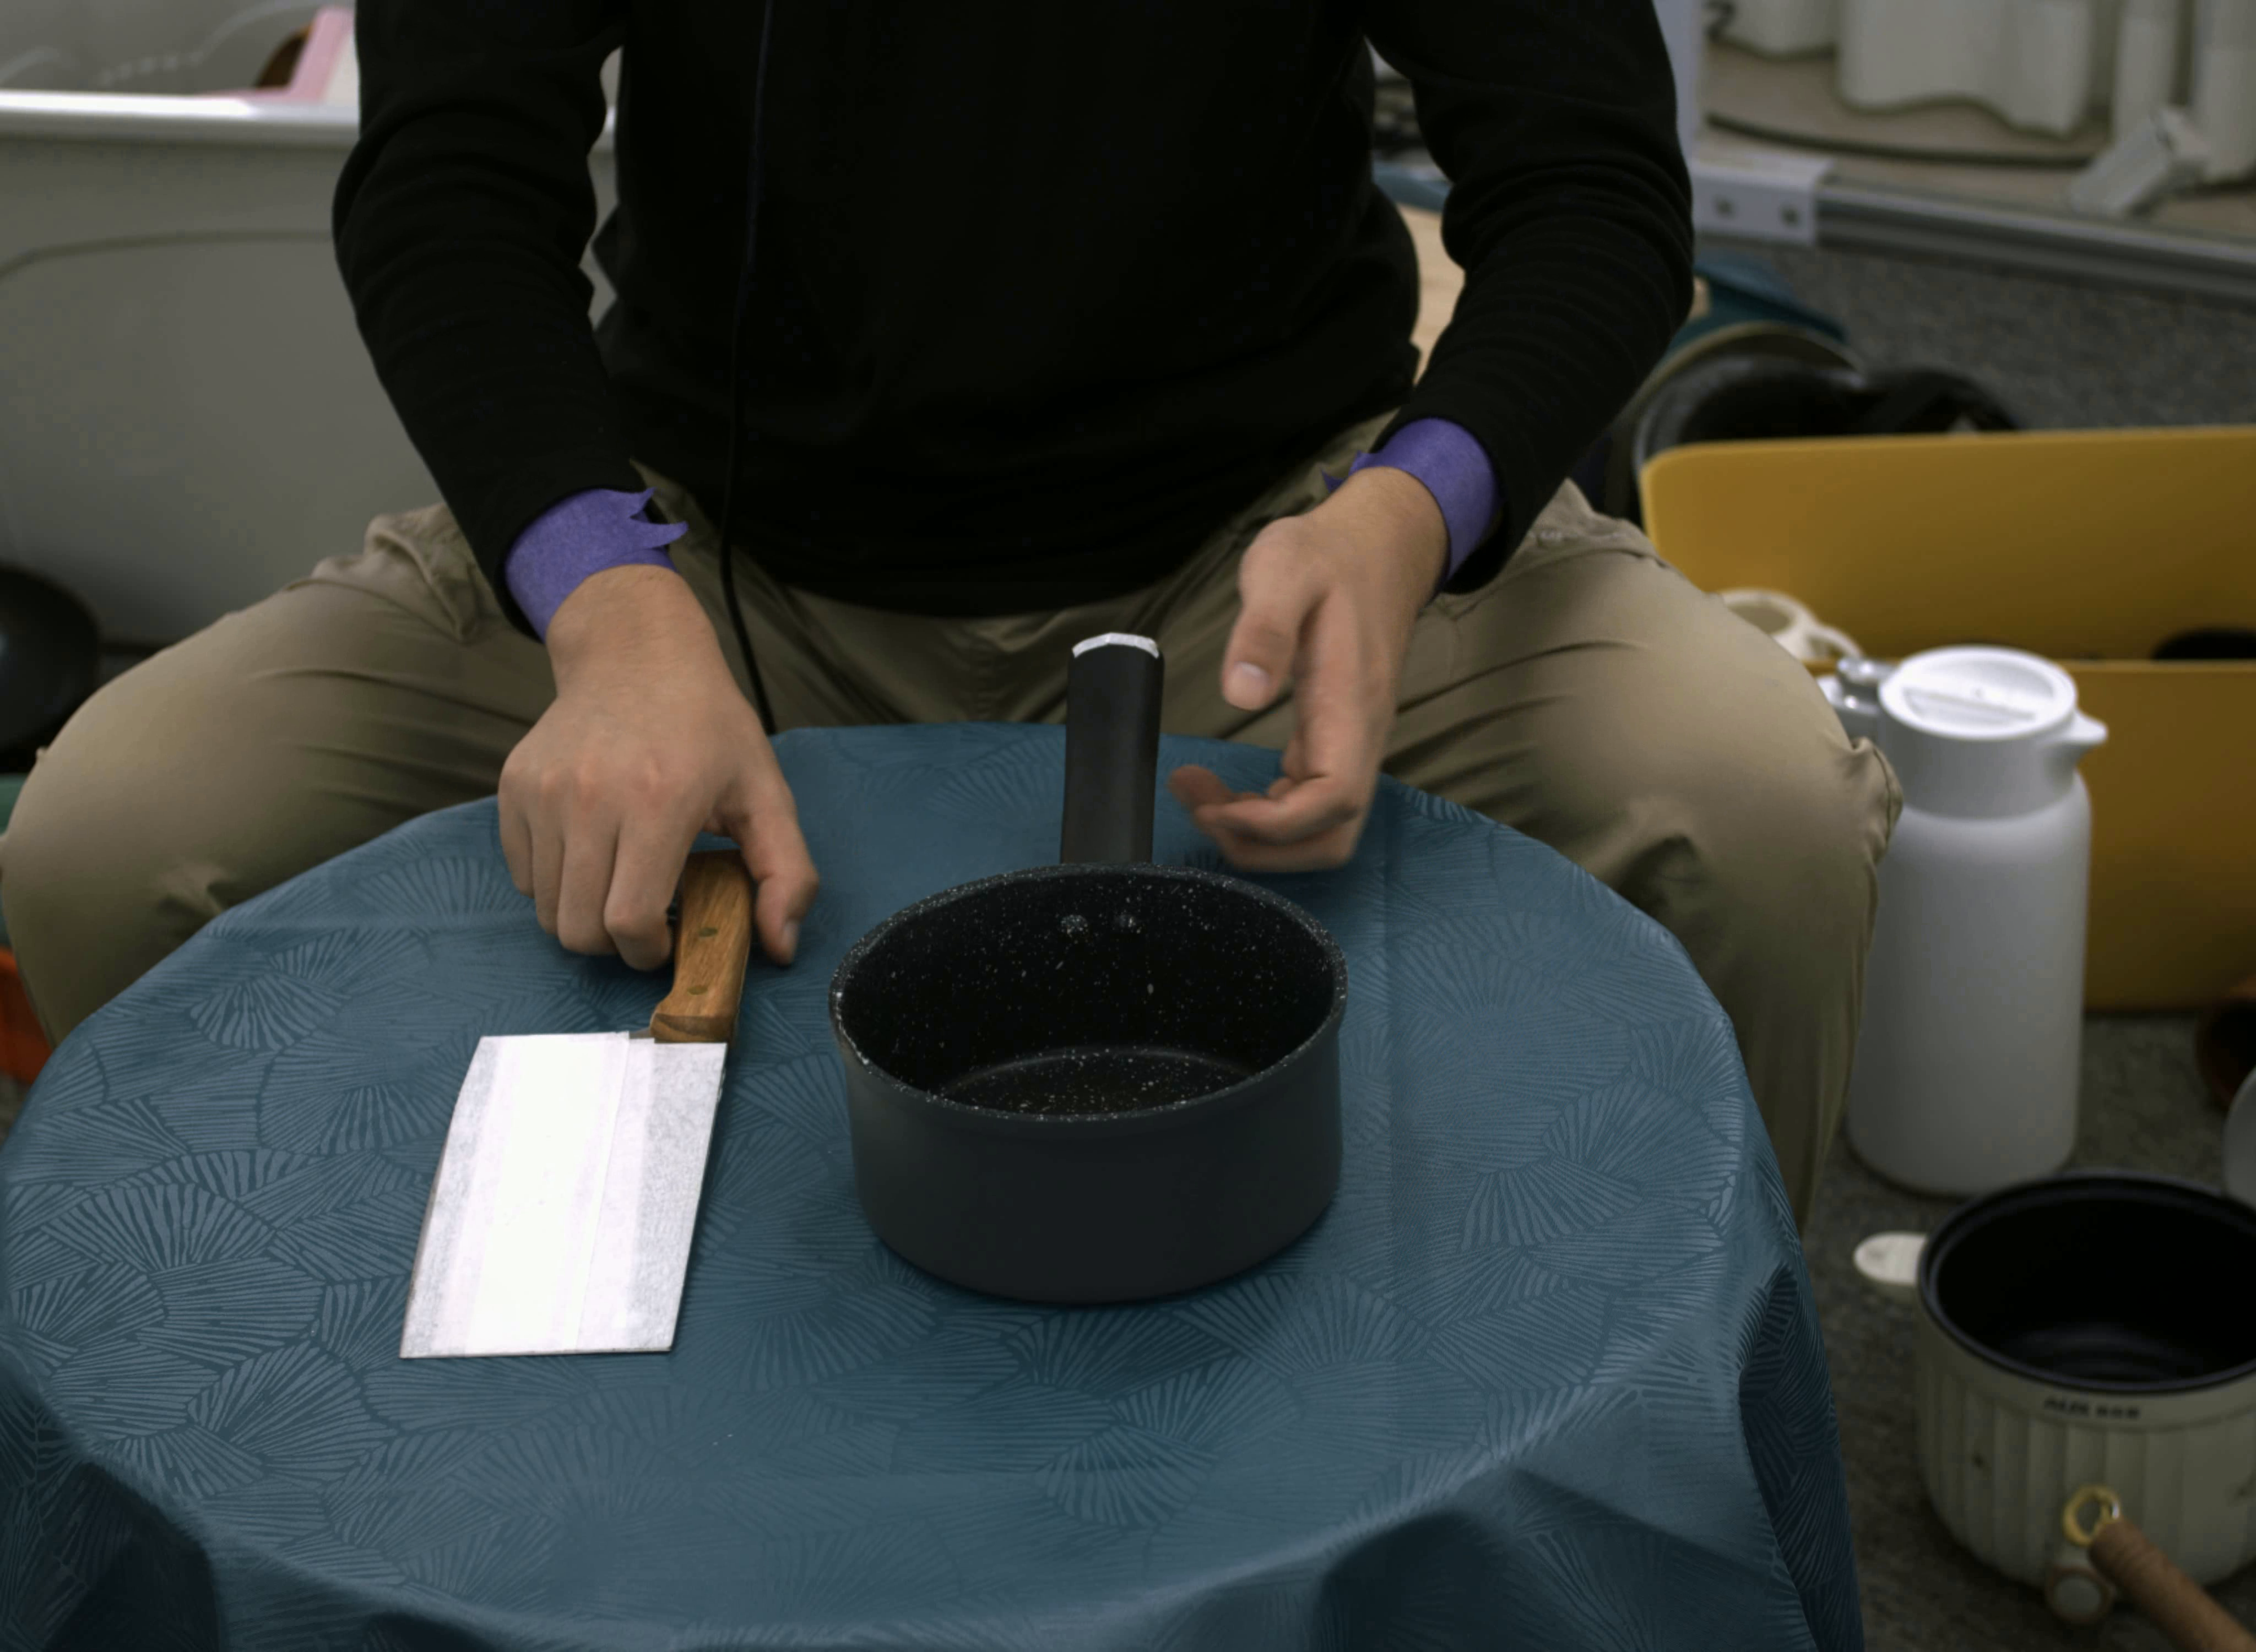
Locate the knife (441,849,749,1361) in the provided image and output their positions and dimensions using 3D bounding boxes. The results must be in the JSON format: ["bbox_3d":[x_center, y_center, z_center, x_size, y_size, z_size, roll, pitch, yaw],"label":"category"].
[{"bbox_3d":[-0.181,0.092,1.917,0.092,0.021,0.311,-2,30,4],"label":"knife"}]

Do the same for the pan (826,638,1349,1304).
[{"bbox_3d":[-0.005,0.046,1.919,0.171,0.085,0.334,0,28,5],"label":"pan"}]
